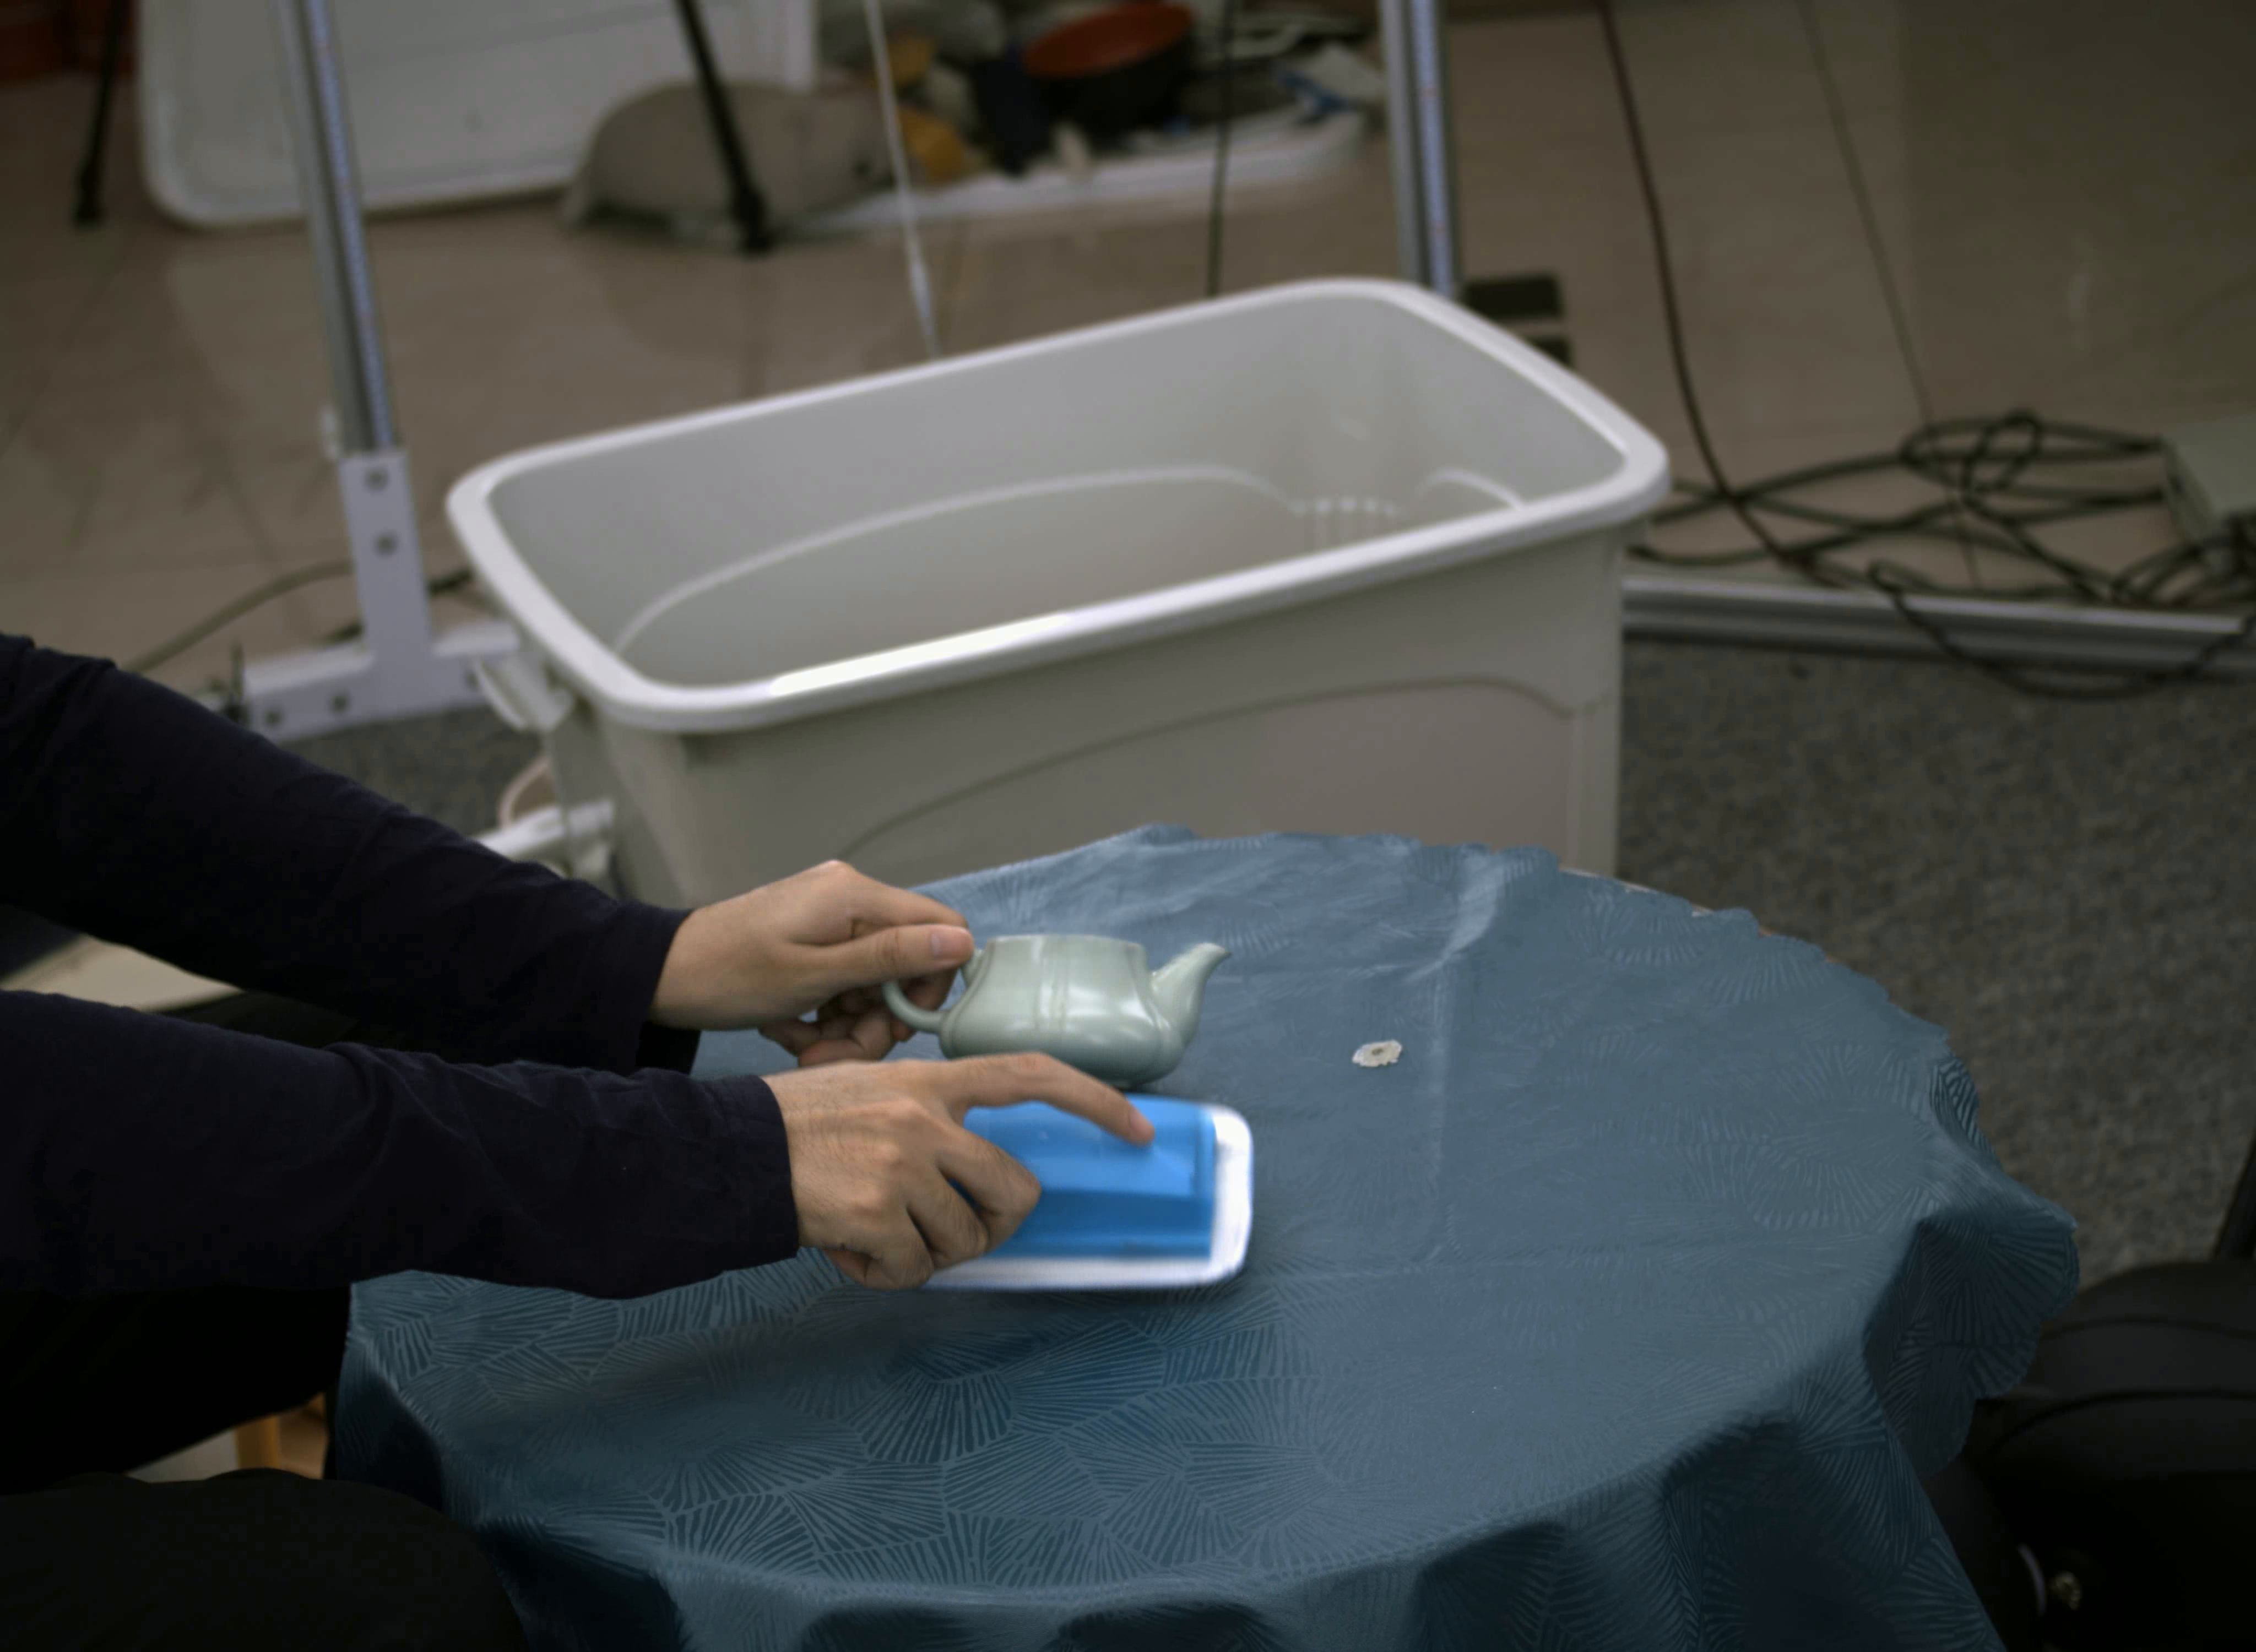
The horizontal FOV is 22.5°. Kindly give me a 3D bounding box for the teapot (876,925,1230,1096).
[{"bbox_3d":[-0.030,0.073,2.199,0.136,0.061,0.096,4,-1,3],"label":"teapot"}]

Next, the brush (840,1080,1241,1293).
[{"bbox_3d":[-0.032,0.128,2.067,0.143,0.057,0.082,4,45,5],"label":"brush"}]
